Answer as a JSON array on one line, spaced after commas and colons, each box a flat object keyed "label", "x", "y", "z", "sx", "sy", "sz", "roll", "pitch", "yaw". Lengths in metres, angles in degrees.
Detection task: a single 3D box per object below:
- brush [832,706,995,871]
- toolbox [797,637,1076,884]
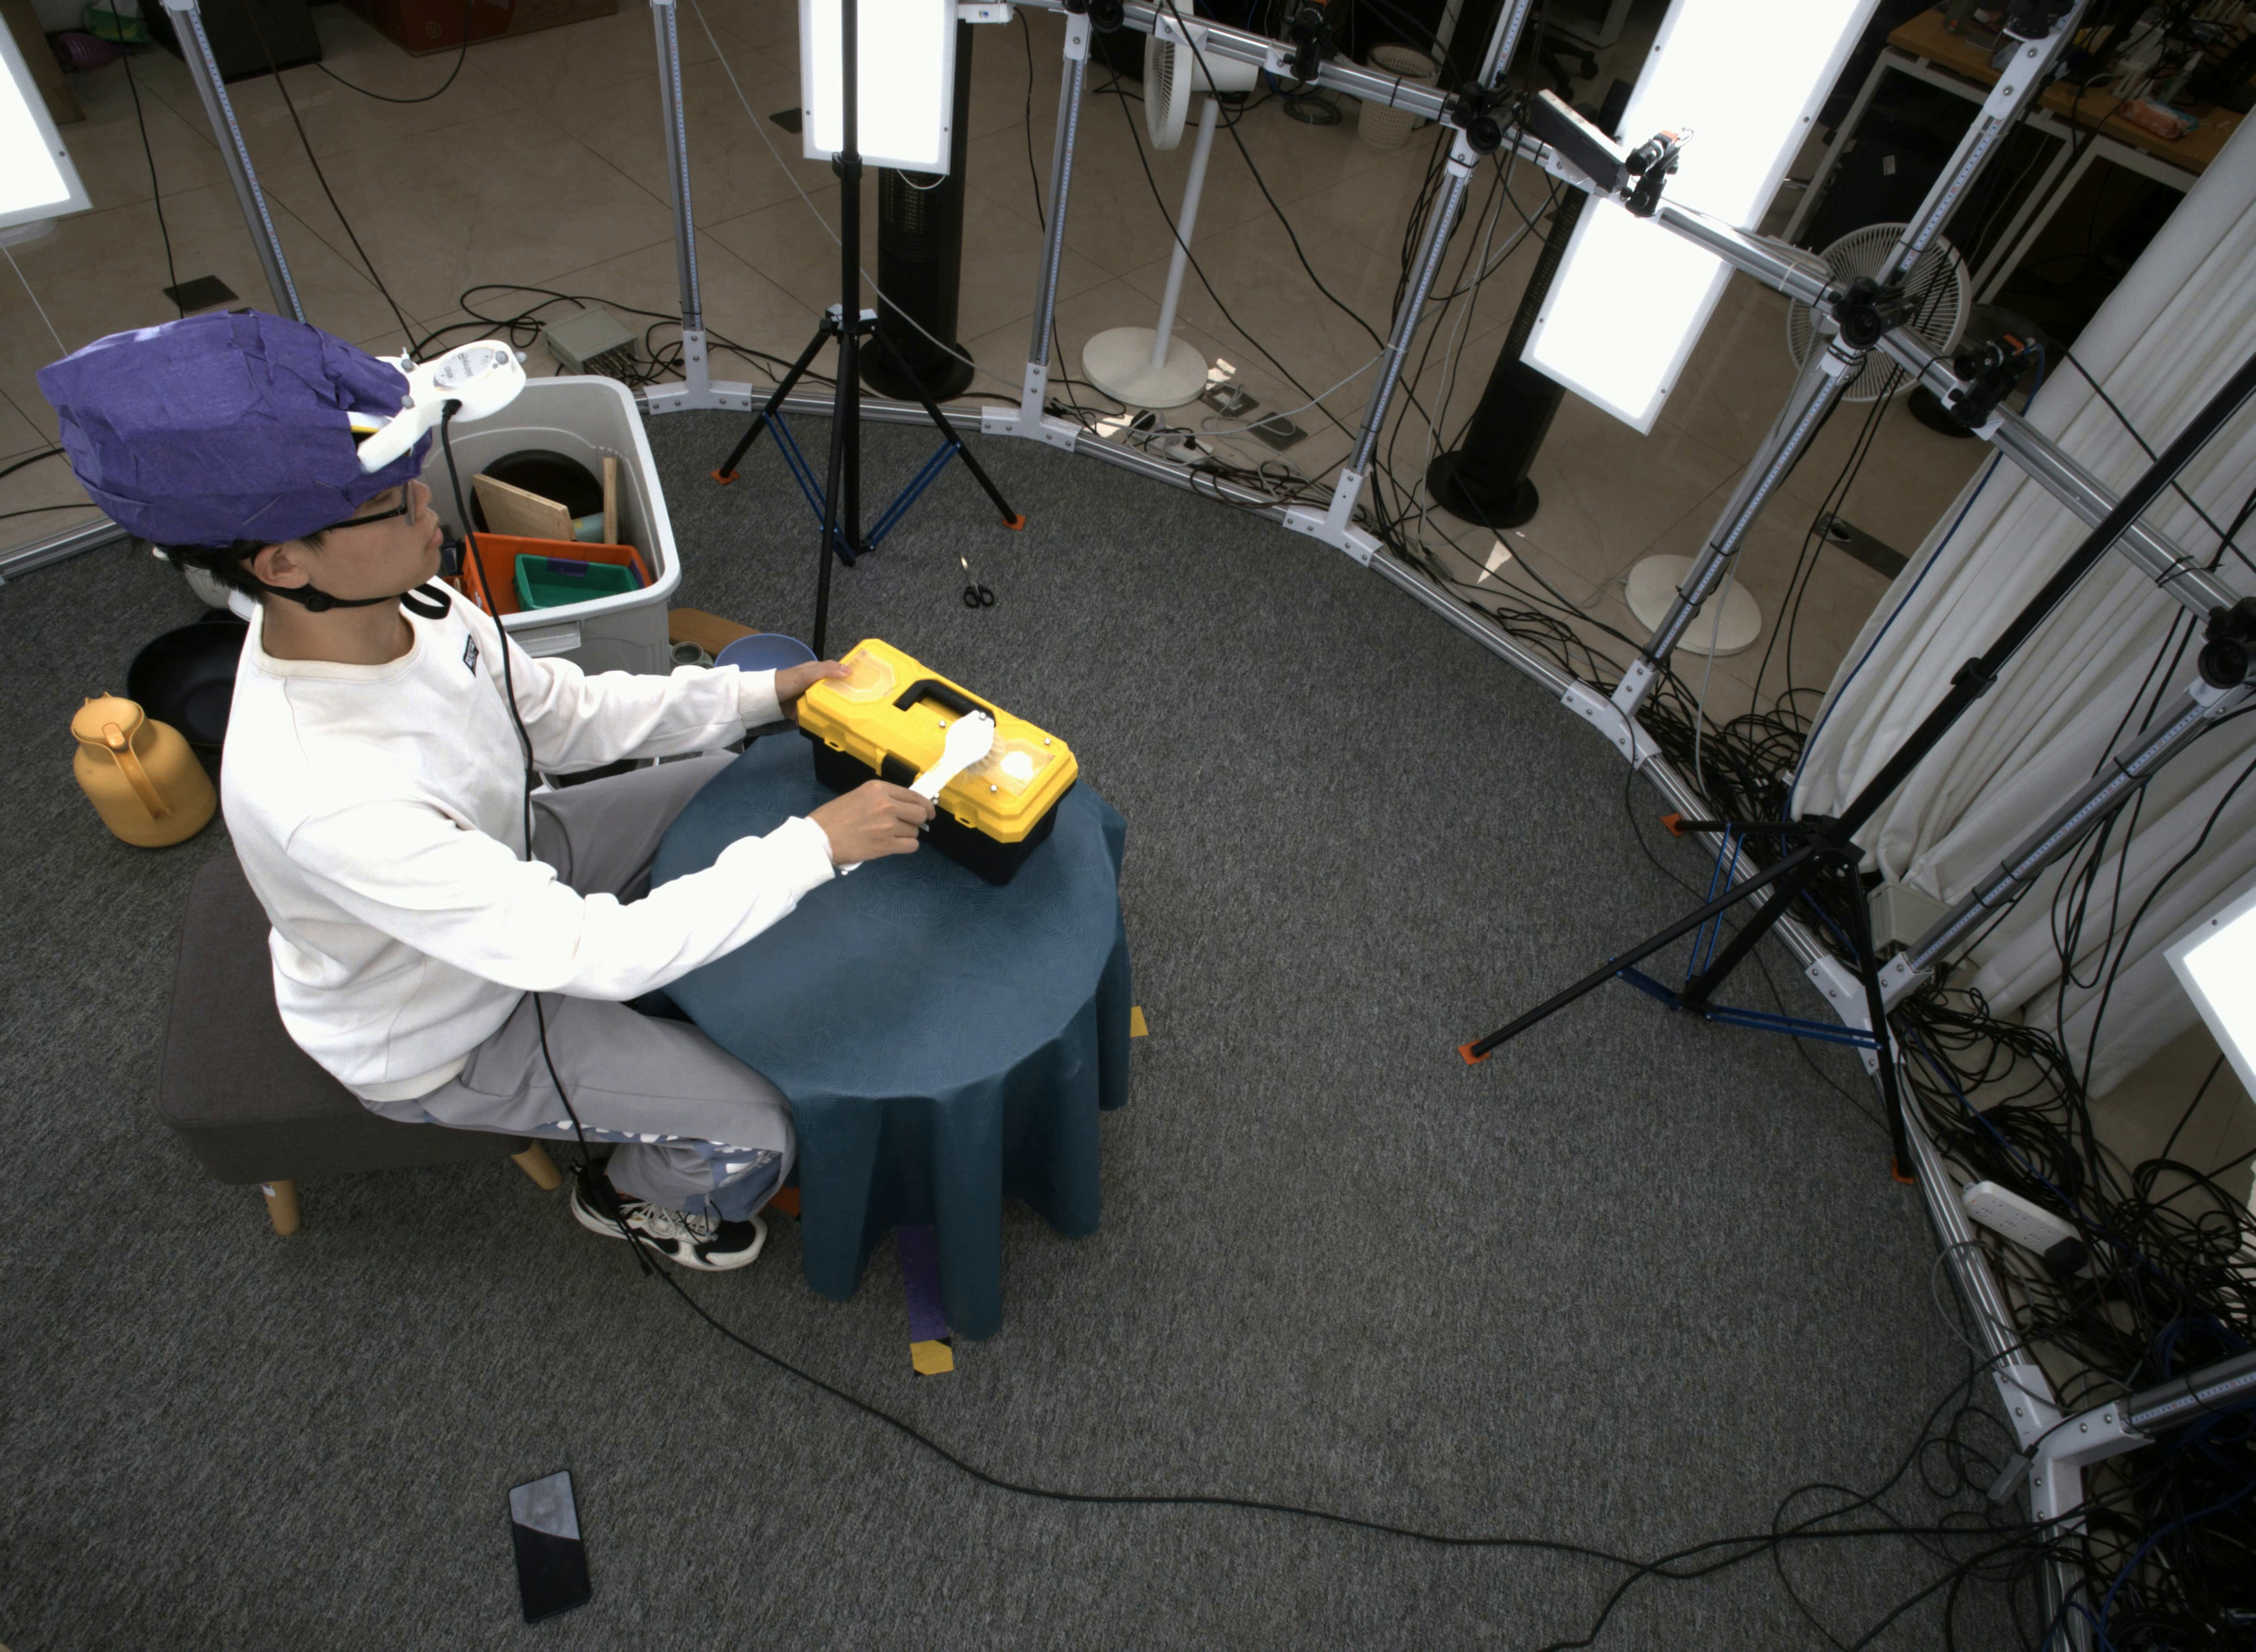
[{"label": "brush", "x": -0.253, "y": -0.035, "z": 1.532, "sx": 0.066, "sy": 0.058, "sz": 0.266, "roll": 25, "pitch": 62, "yaw": 24}, {"label": "toolbox", "x": -0.256, "y": -0.084, "z": 1.726, "sx": 0.345, "sy": 0.176, "sz": 0.181, "roll": 29, "pitch": 52, "yaw": 11}]
